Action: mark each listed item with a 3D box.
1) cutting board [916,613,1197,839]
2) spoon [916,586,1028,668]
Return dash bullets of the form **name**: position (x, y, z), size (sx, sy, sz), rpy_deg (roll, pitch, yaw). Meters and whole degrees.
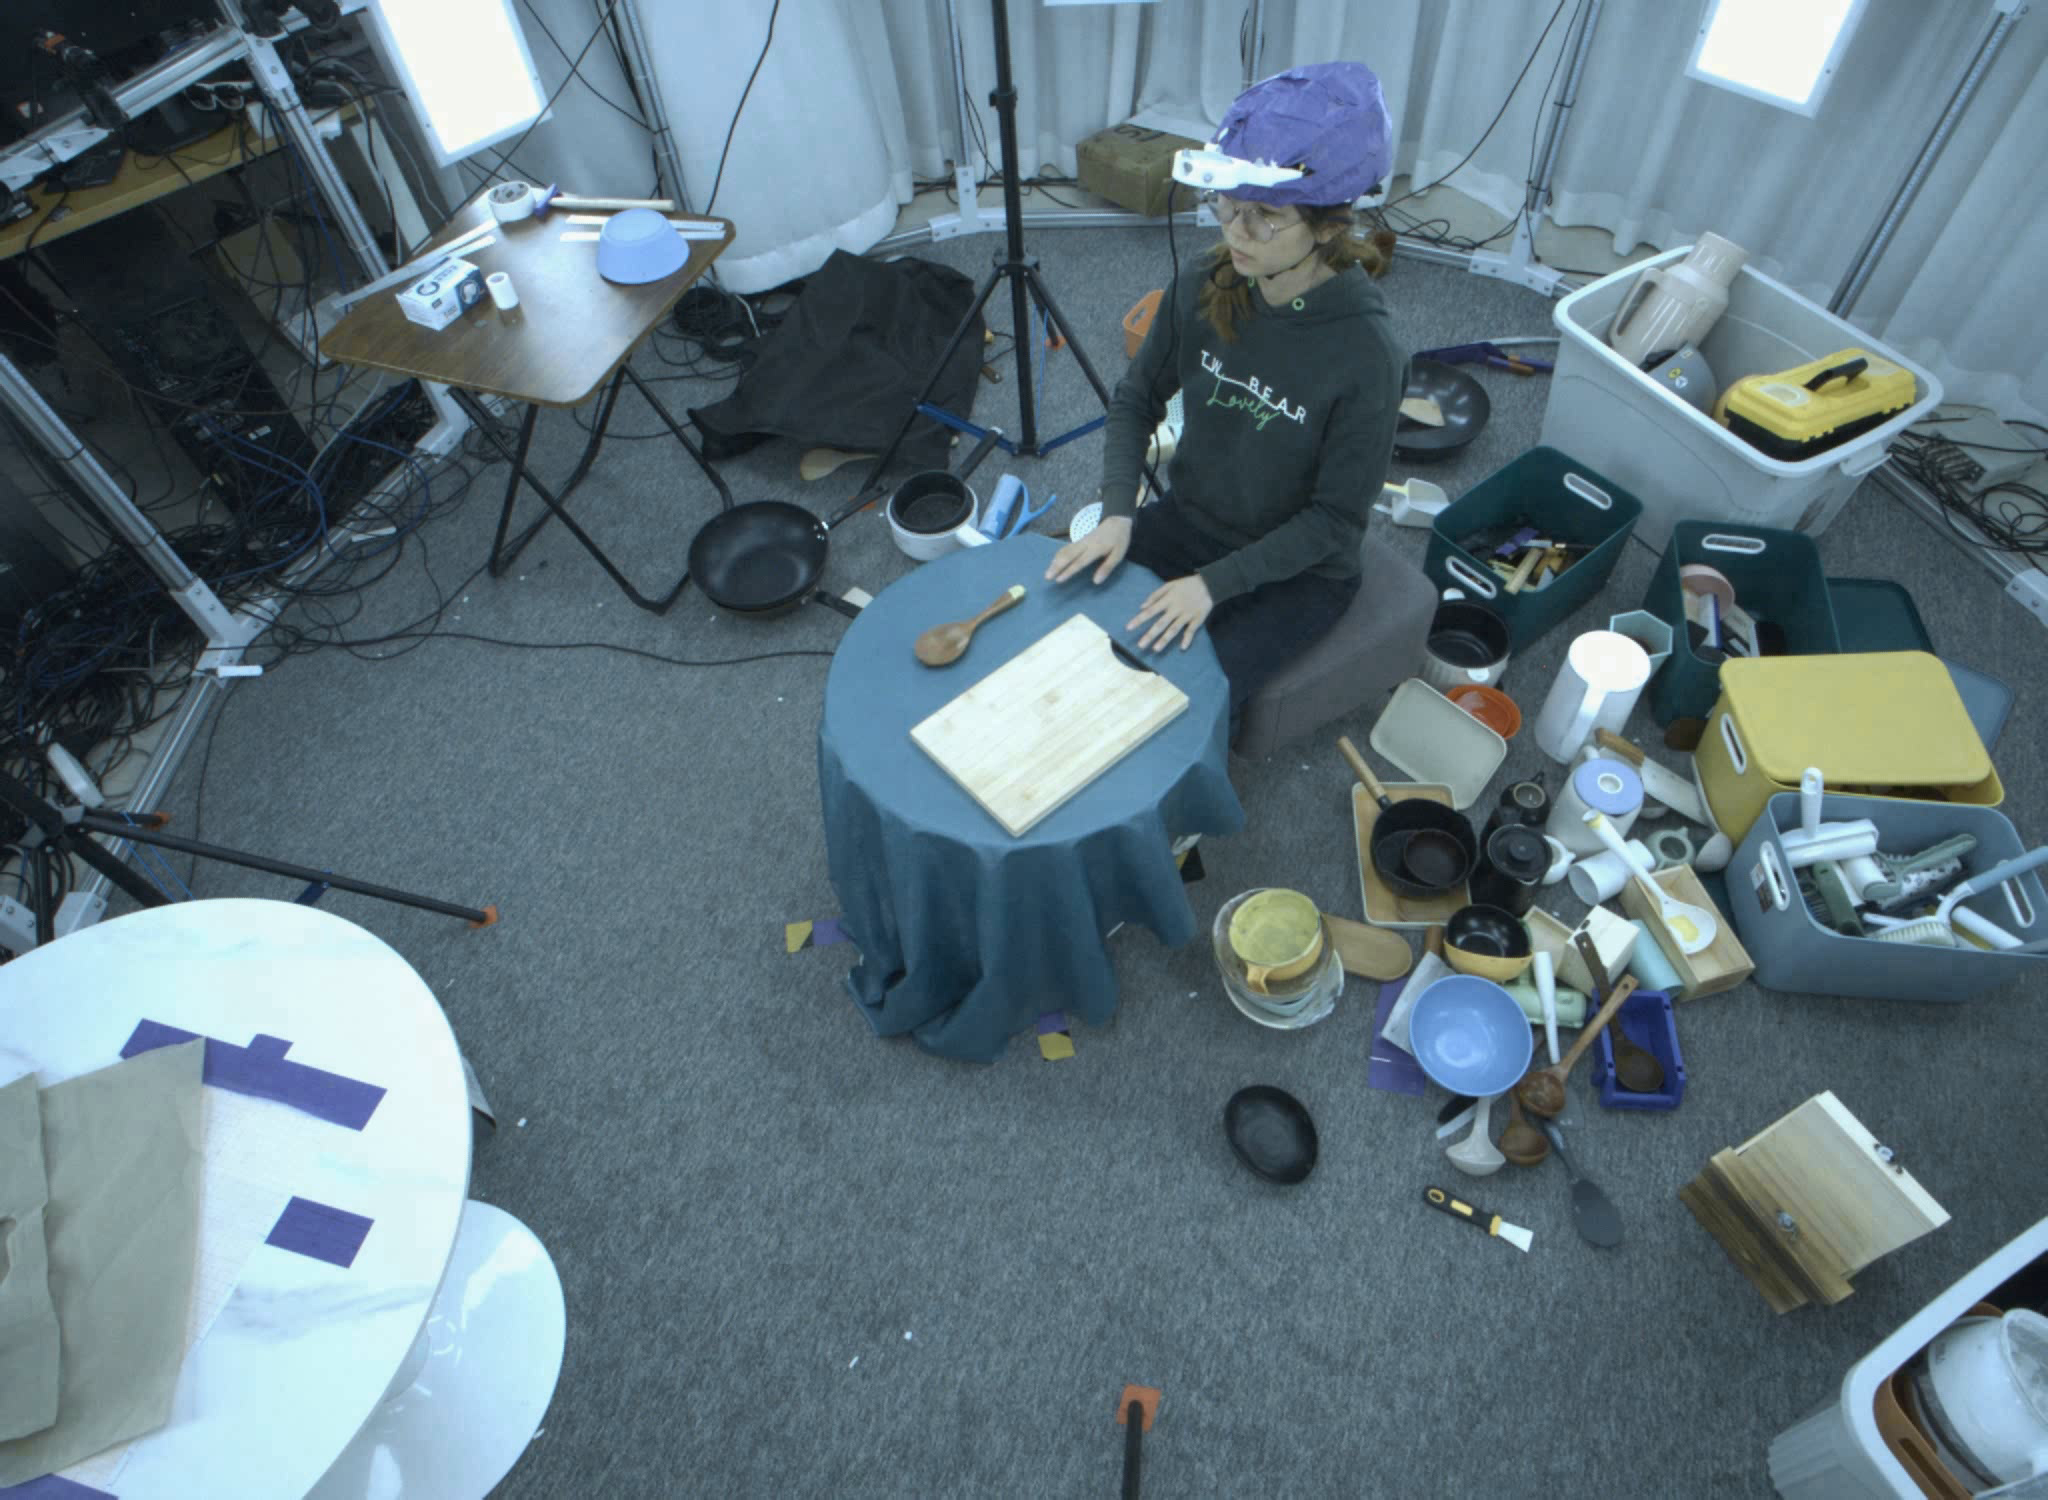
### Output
- **cutting board**: position (0.046, -0.045, 1.818), size (0.351, 0.024, 0.246), rpy_deg (-37, 62, -22)
- **spoon**: position (-0.078, -0.194, 1.925), size (0.217, 0.017, 0.074), rpy_deg (-39, 61, -22)
